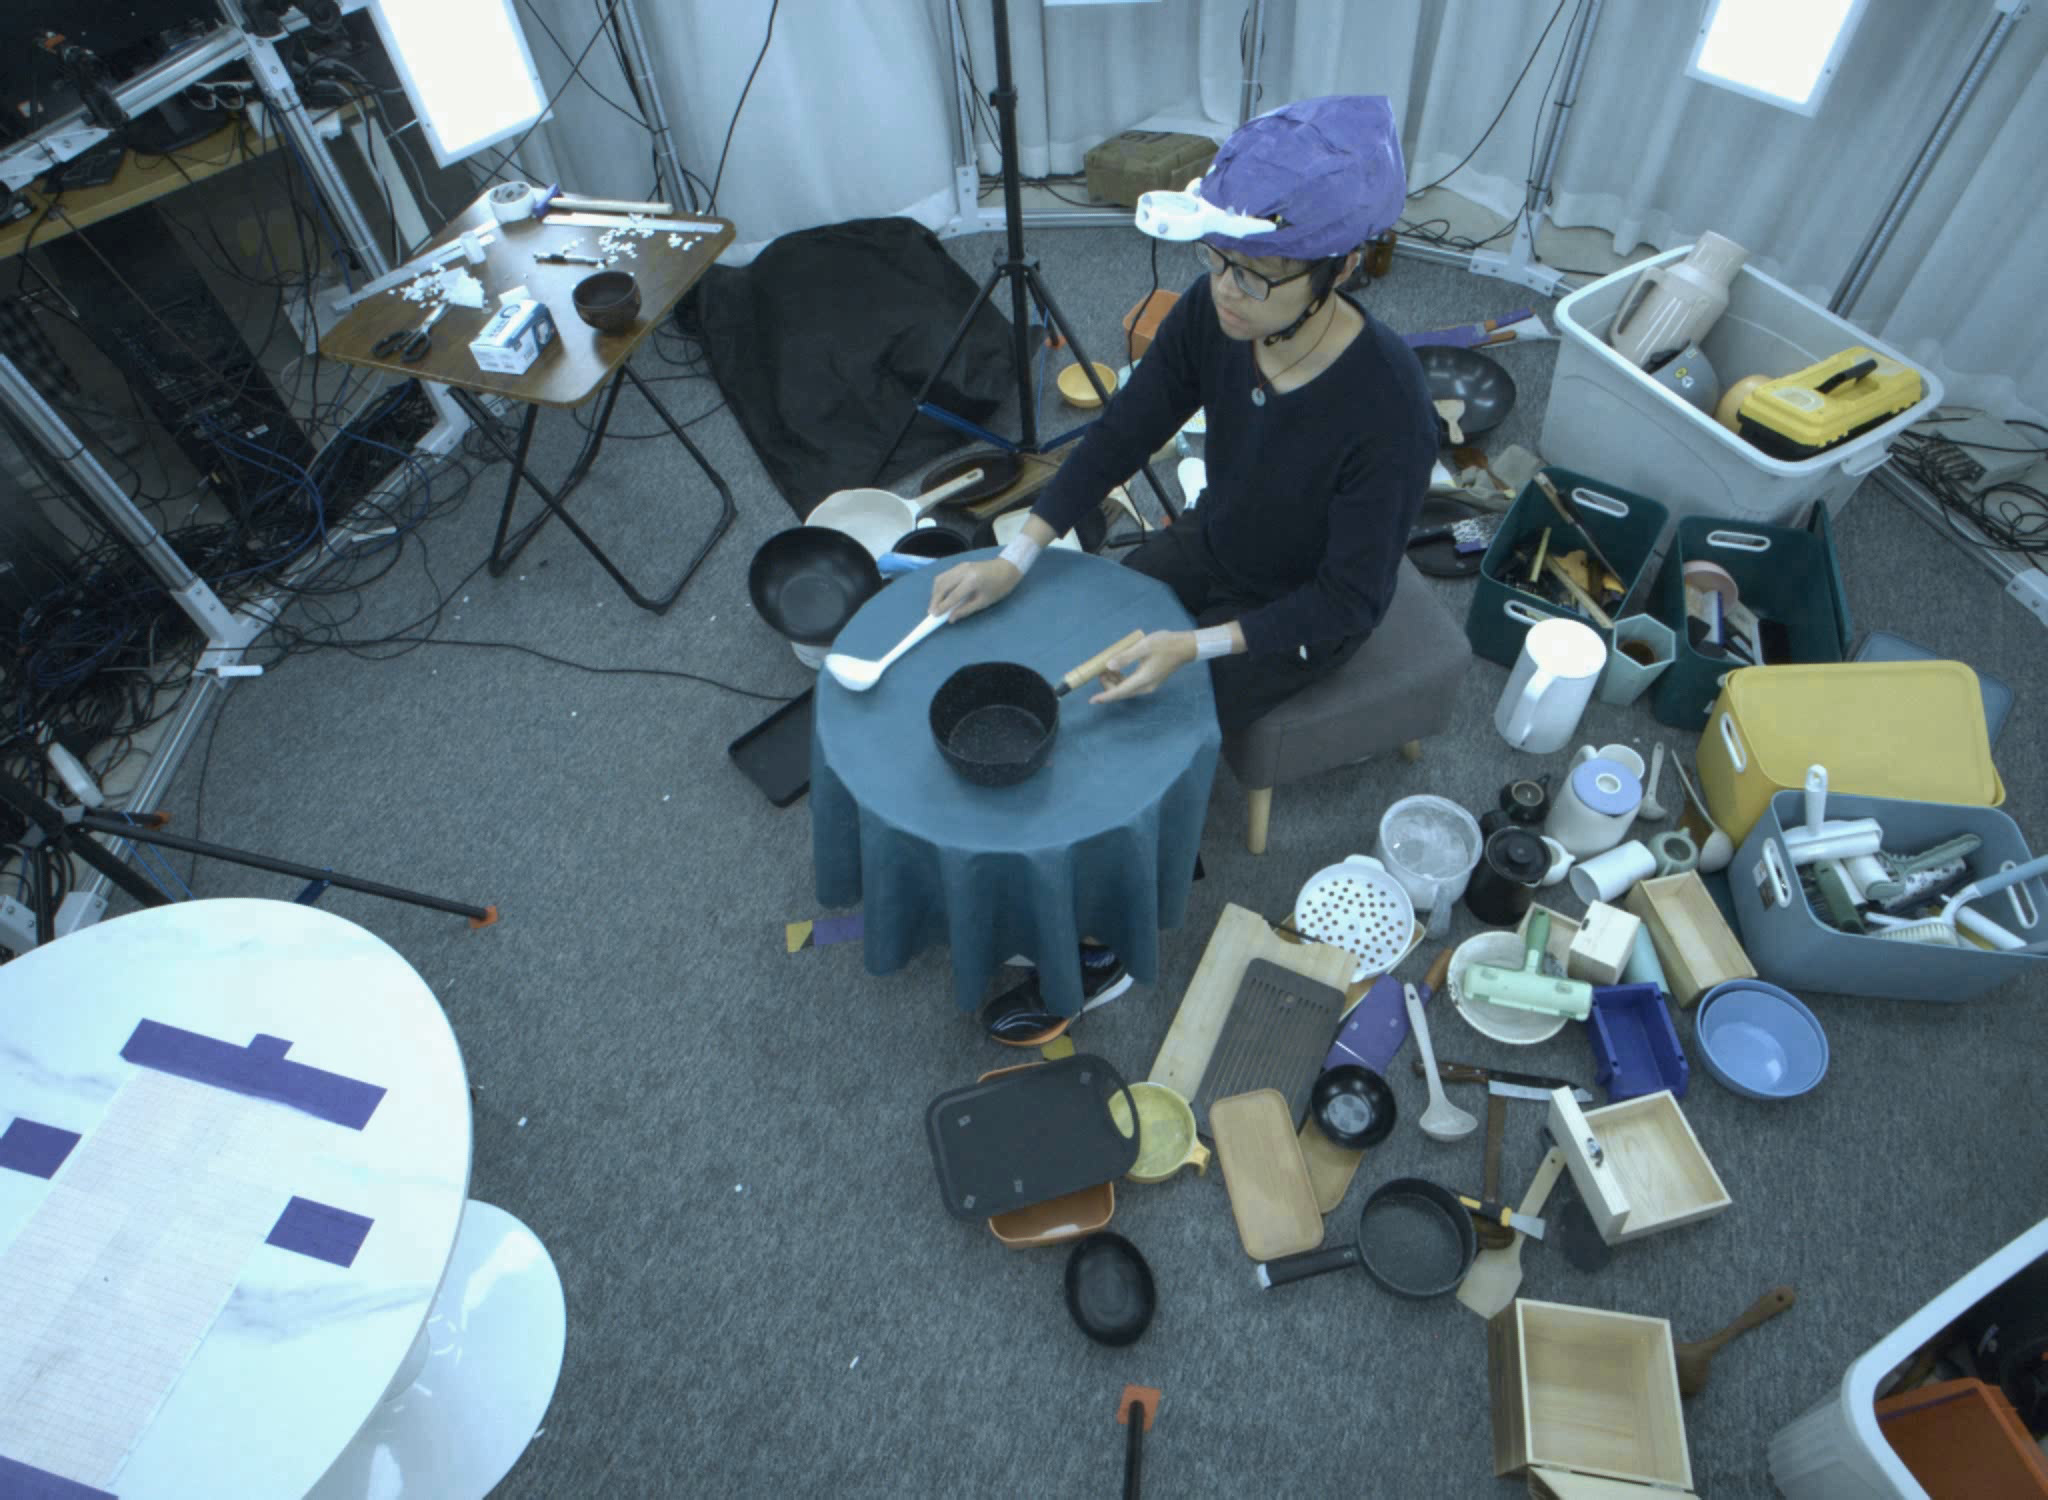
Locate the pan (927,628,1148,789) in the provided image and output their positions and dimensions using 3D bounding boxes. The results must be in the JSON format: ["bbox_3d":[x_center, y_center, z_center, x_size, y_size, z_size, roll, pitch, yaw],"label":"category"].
[{"bbox_3d":[0.028,-0.071,1.770,0.345,0.109,0.203,-27,57,-14],"label":"pan"}]

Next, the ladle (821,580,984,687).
[{"bbox_3d":[-0.182,-0.188,1.889,0.295,0.071,0.088,-39,49,-23],"label":"ladle"}]
